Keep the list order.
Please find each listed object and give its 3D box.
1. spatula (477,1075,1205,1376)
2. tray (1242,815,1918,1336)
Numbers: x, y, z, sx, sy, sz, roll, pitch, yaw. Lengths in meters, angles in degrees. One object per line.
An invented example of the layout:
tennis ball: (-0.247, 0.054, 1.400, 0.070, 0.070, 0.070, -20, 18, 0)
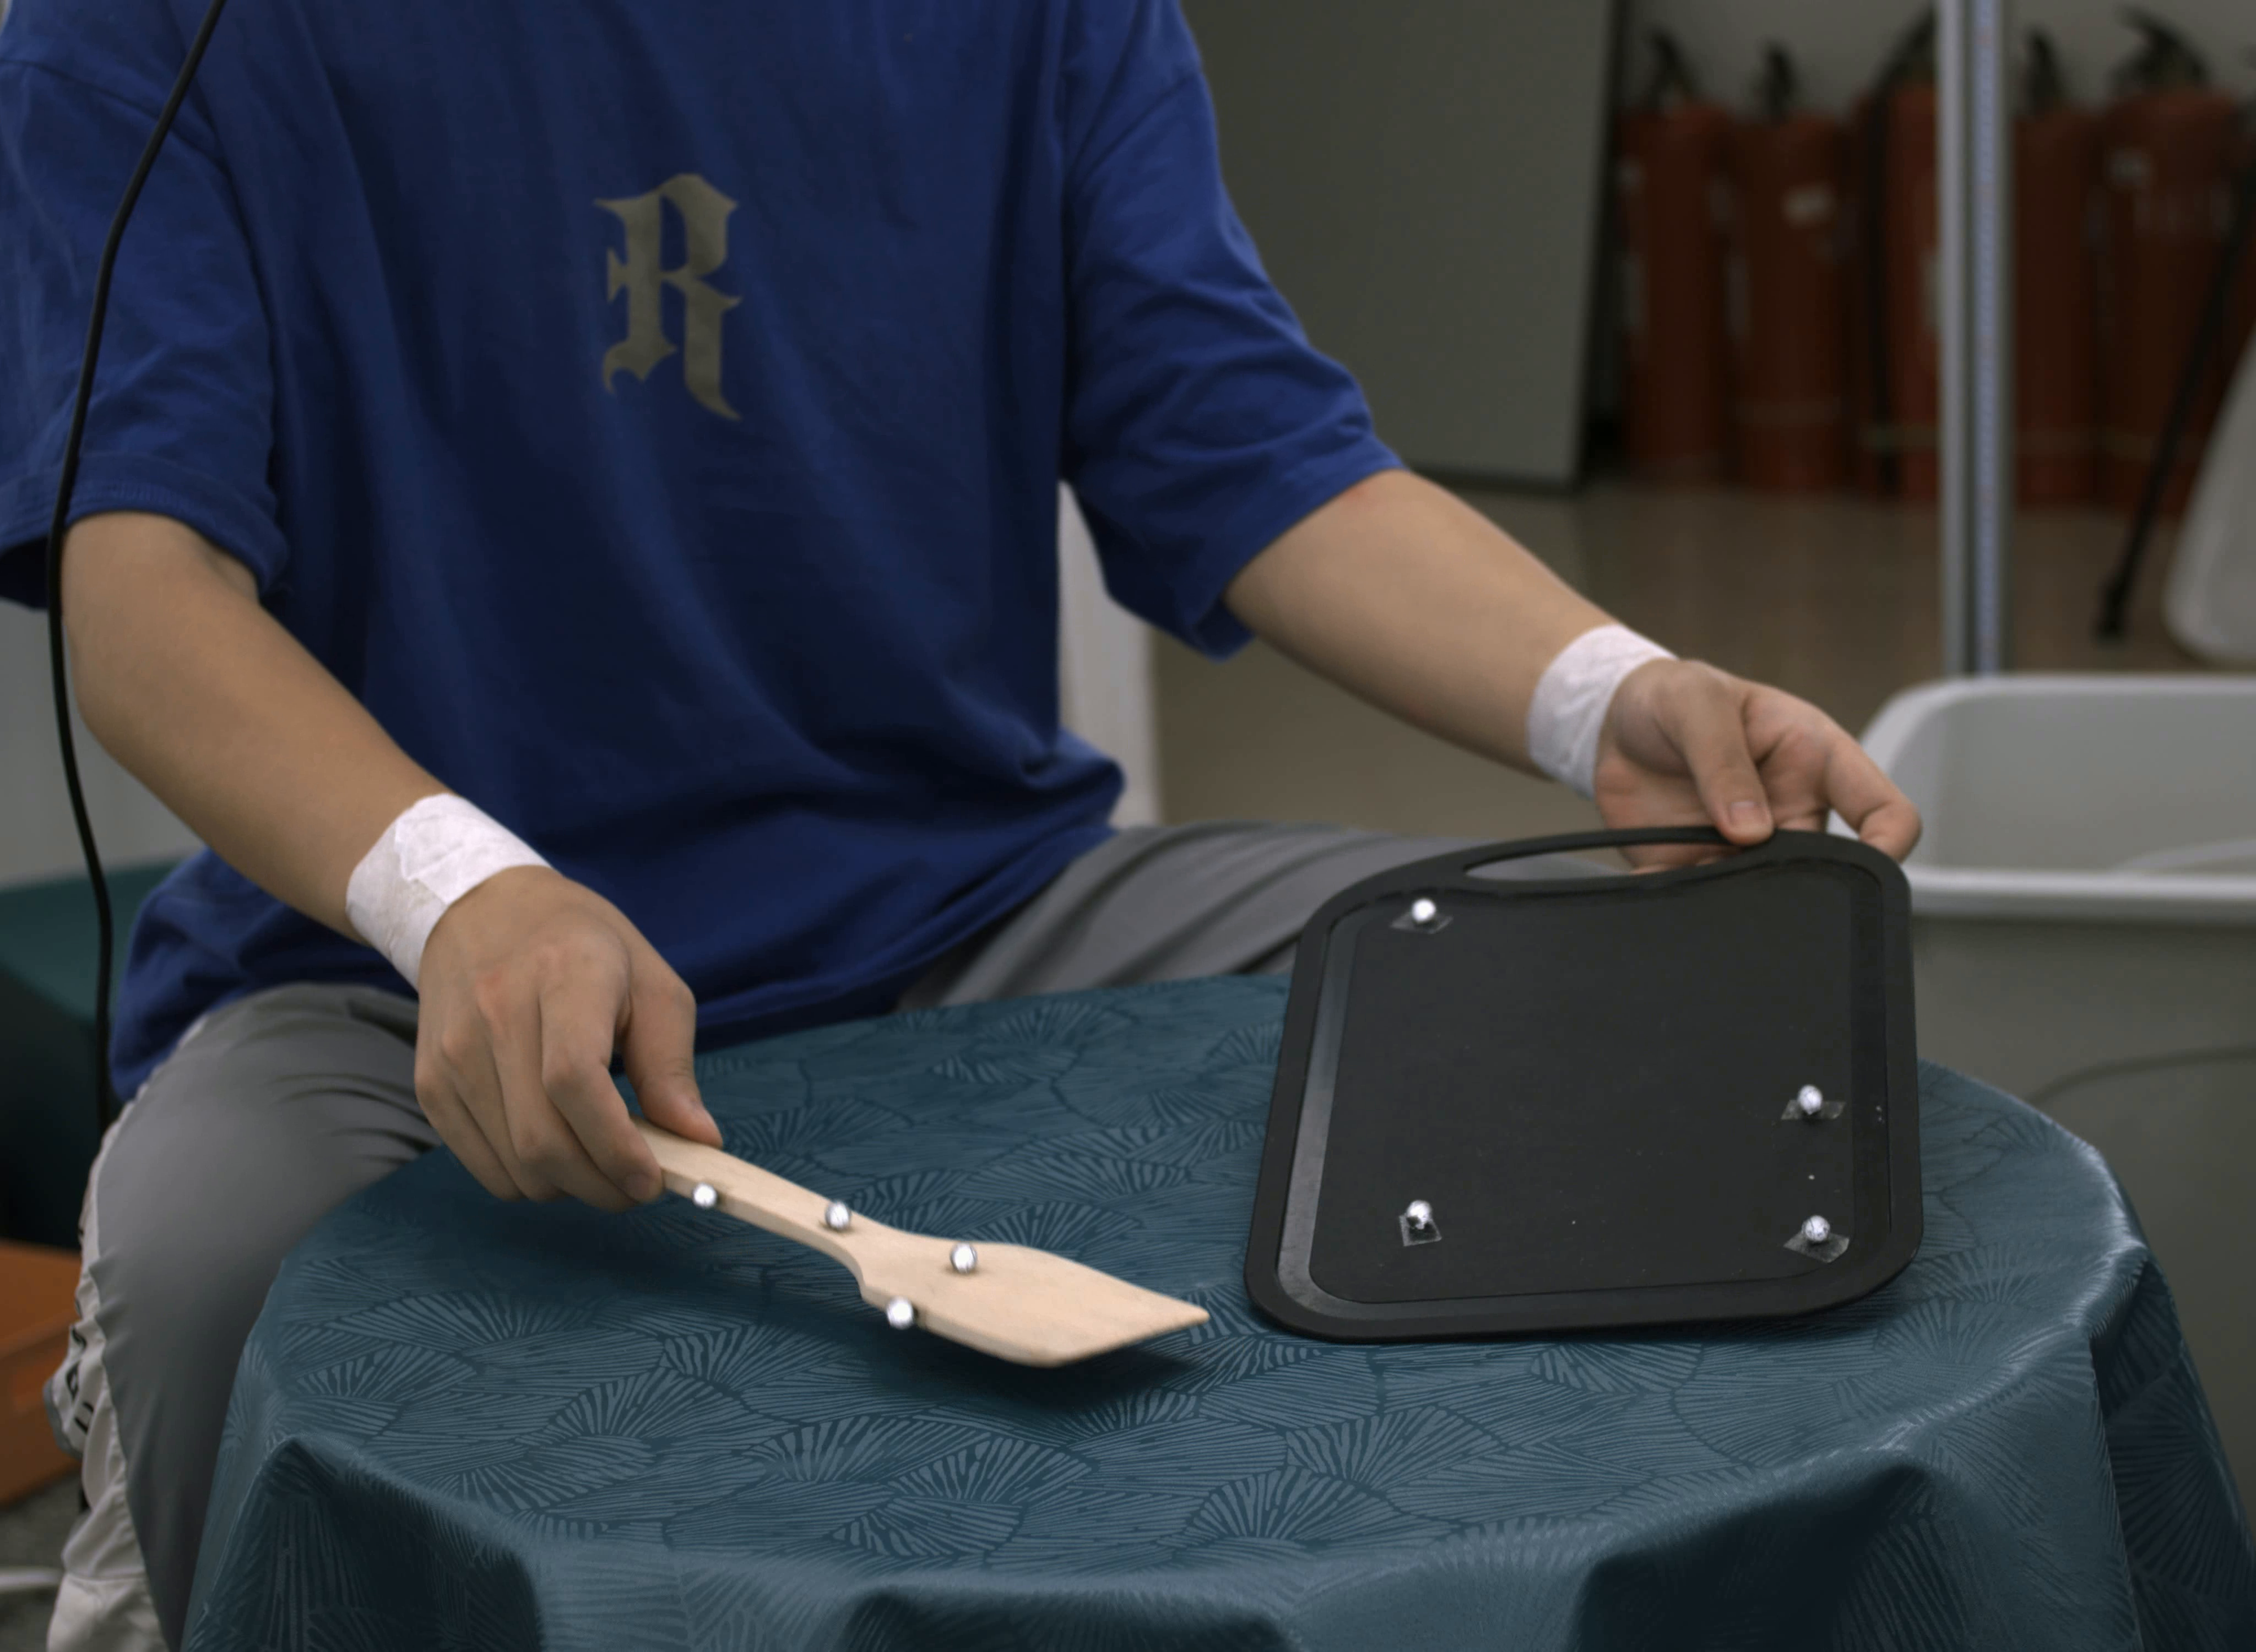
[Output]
spatula: (-0.103, 0.121, 1.679, 0.296, 0.011, 0.071, 18, 22, 41)
tray: (0.151, 0.072, 1.740, 0.210, 0.010, 0.325, -5, 27, 11)
